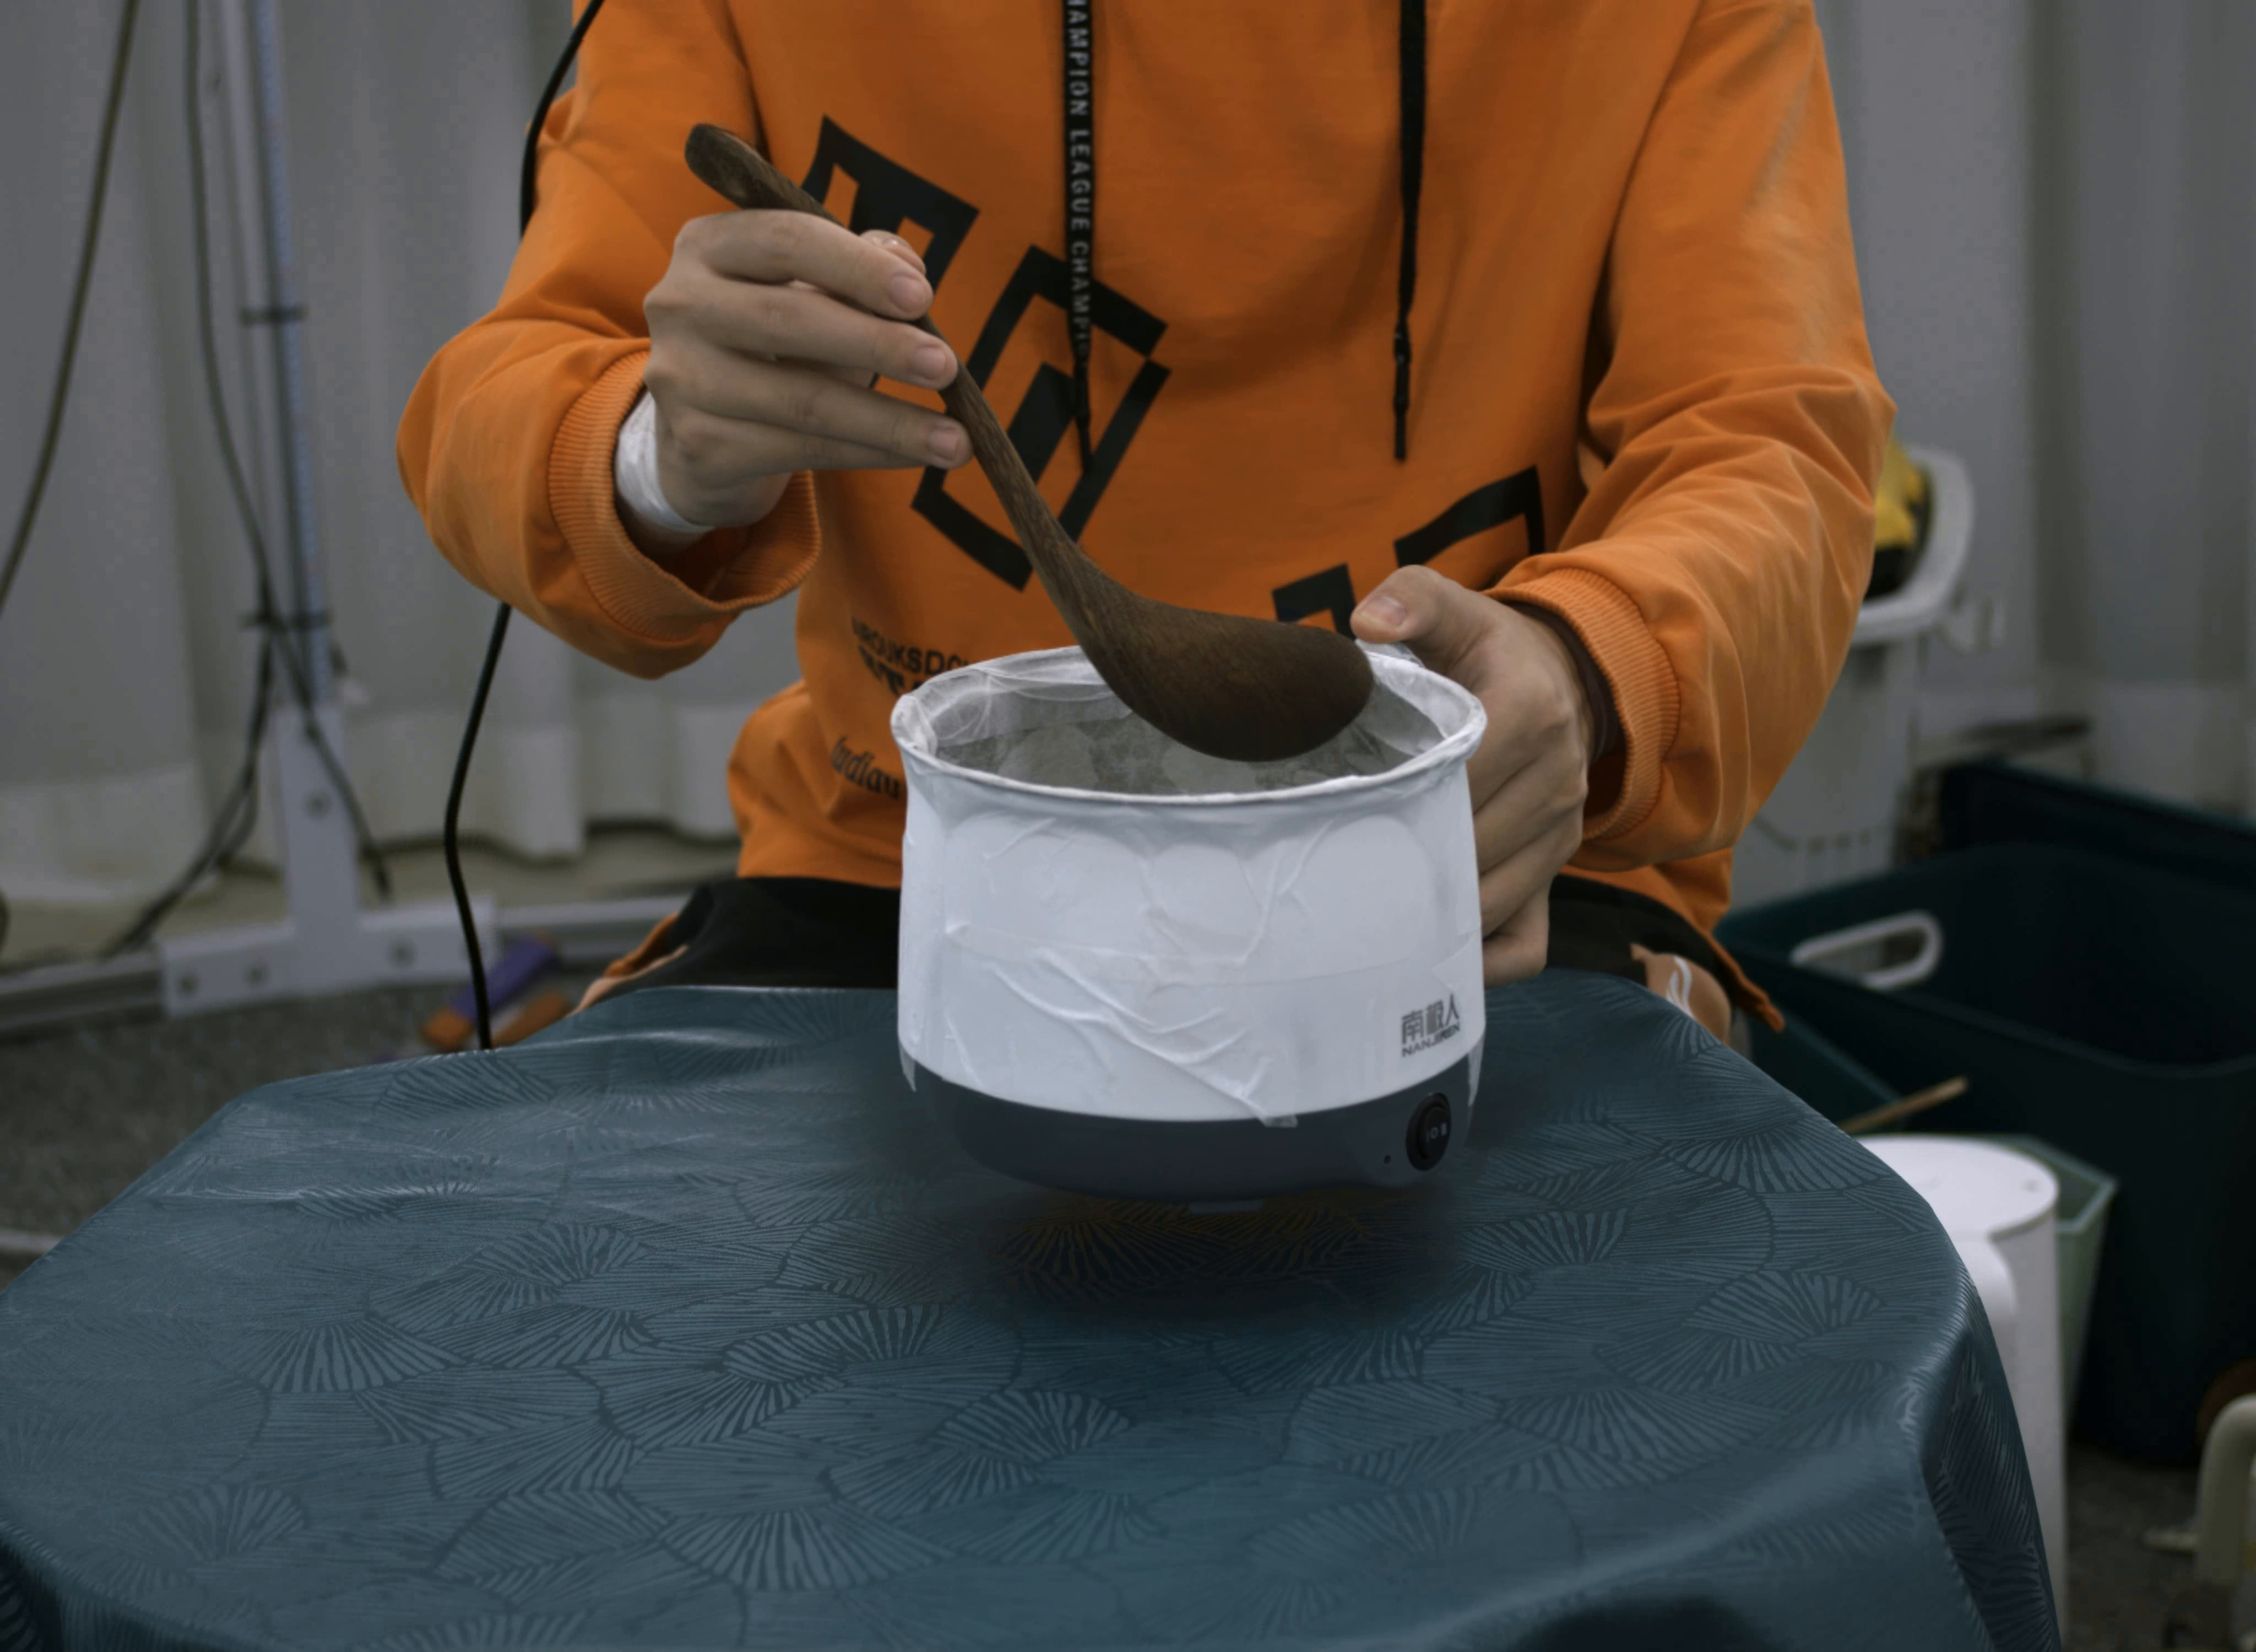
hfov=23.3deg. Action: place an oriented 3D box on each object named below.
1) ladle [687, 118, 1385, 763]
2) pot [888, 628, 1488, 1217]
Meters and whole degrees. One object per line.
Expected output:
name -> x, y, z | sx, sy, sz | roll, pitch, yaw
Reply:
ladle -> -0.027, -0.127, 1.677 | 0.071, 0.276, 0.075 | -32, -17, -21
pot -> 0.034, 0.021, 1.656 | 0.179, 0.136, 0.234 | 11, 20, 34
